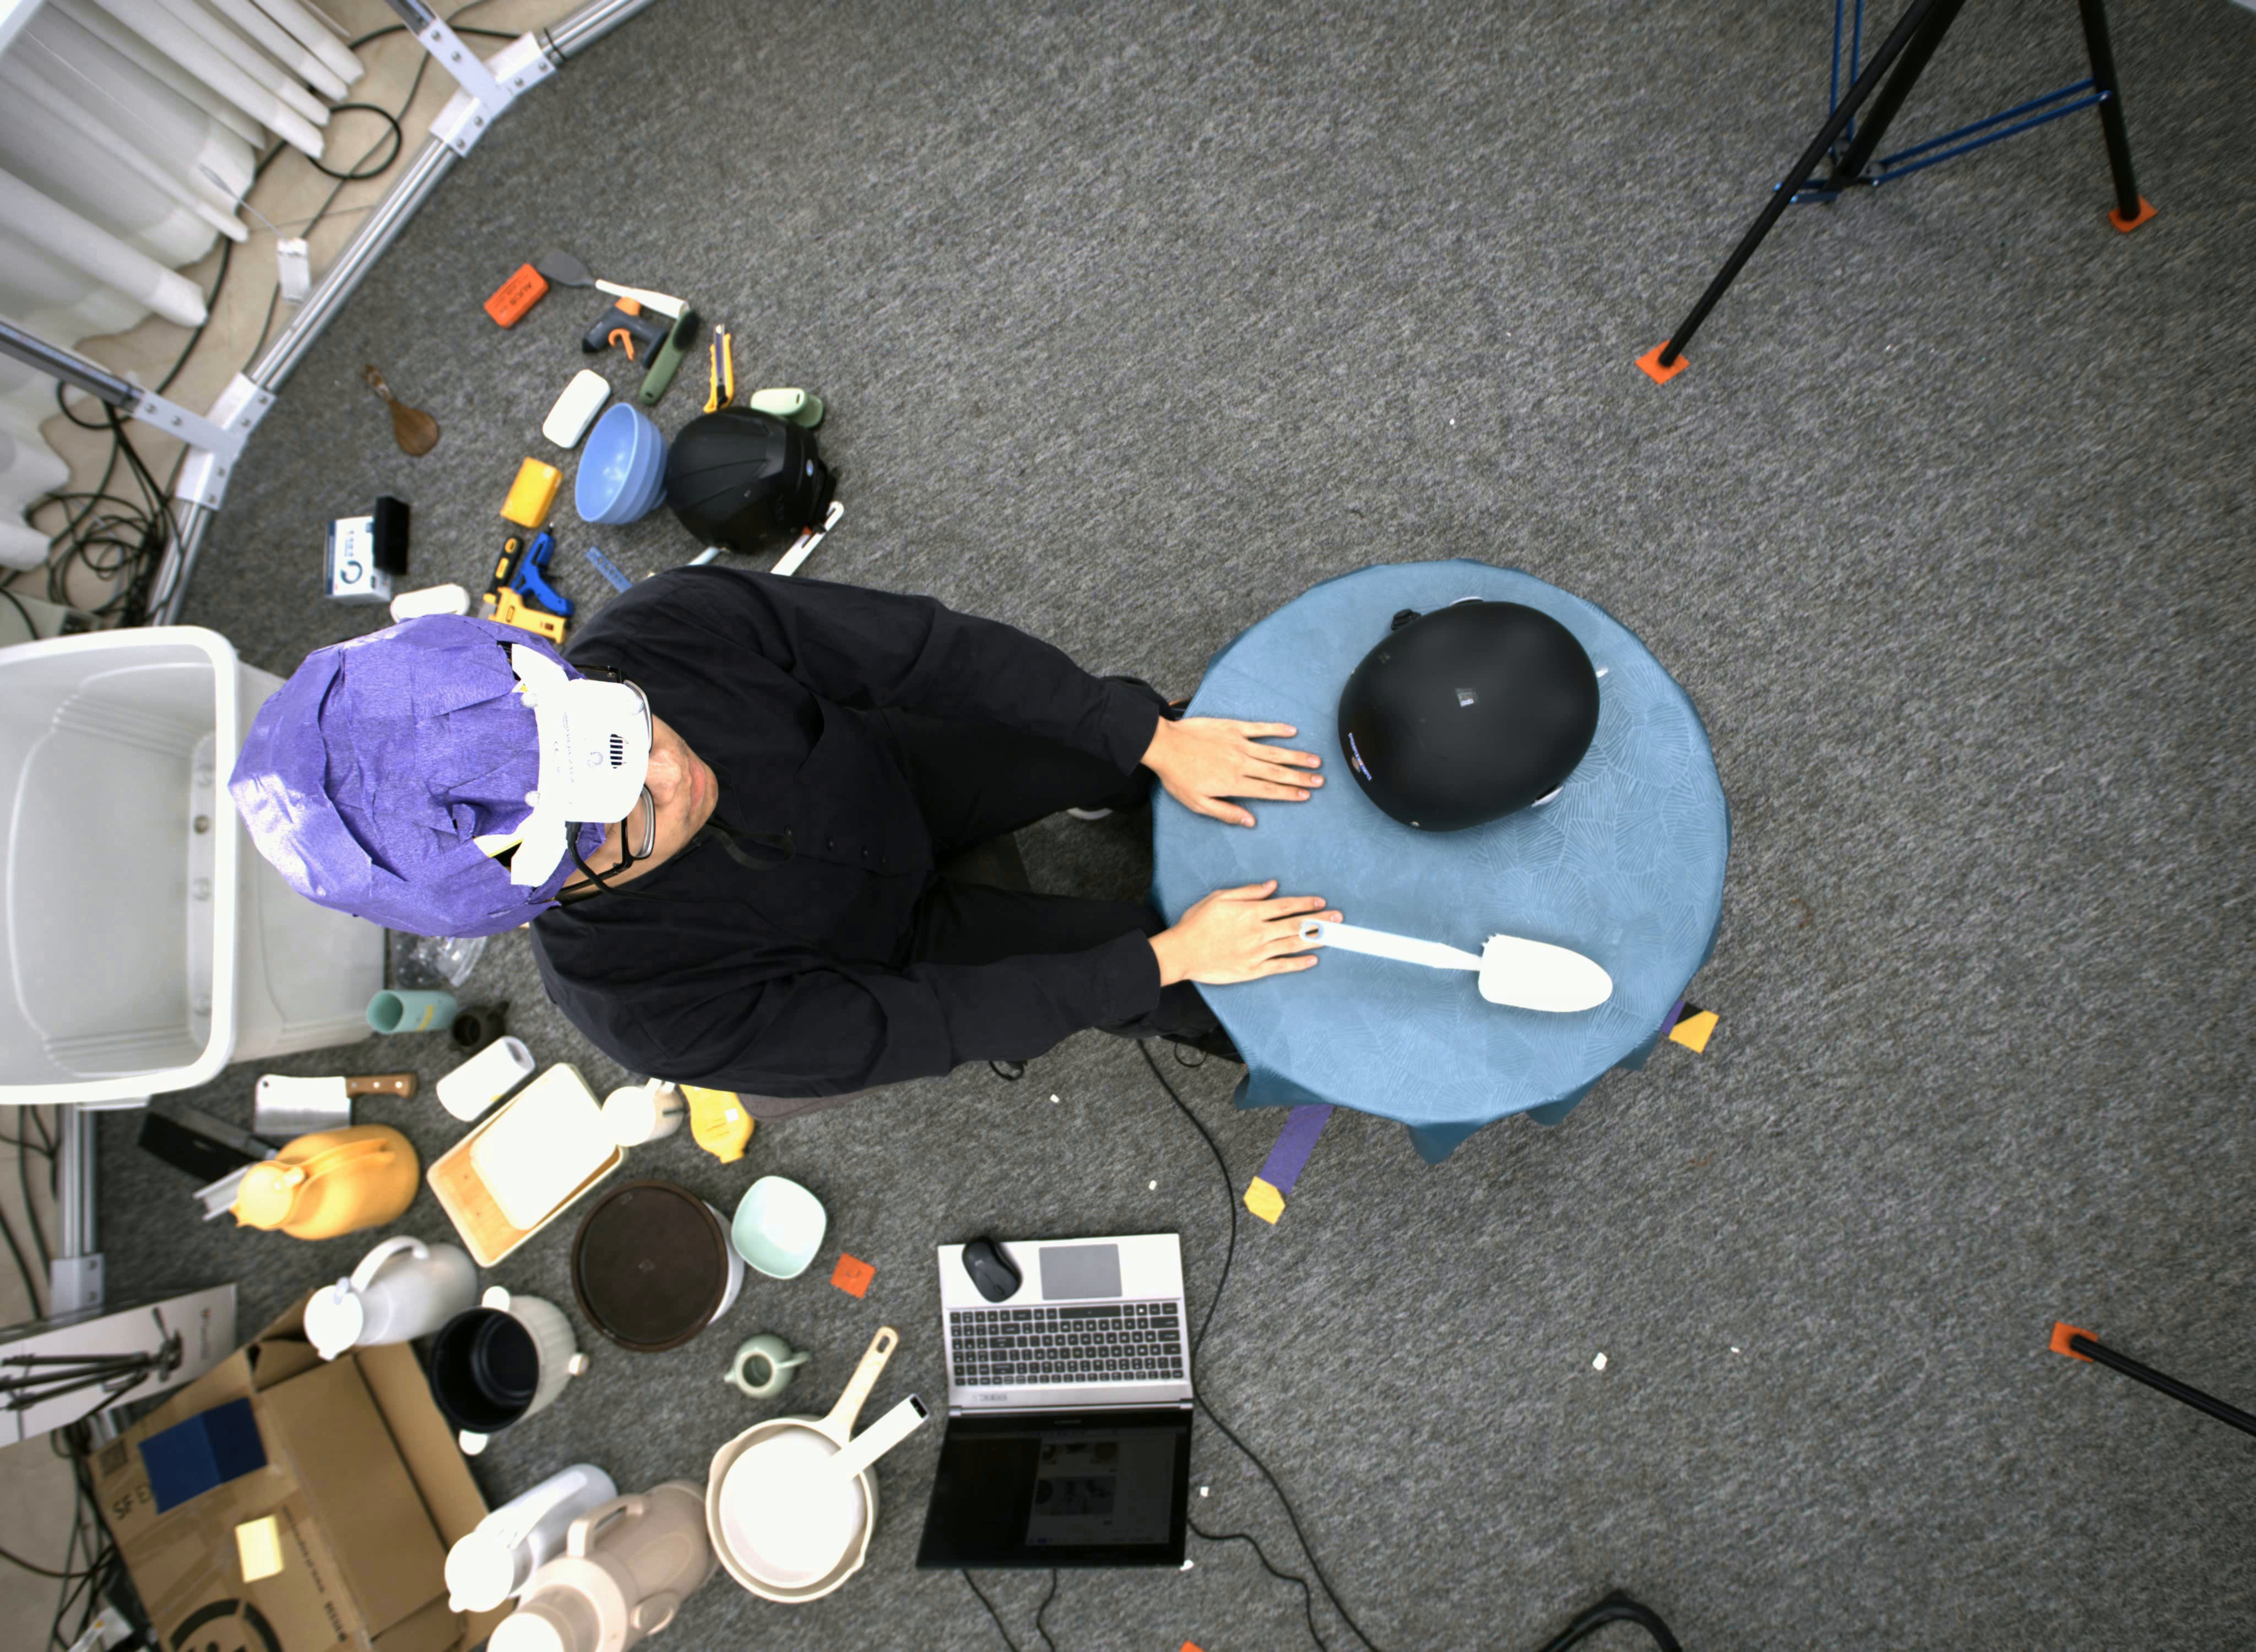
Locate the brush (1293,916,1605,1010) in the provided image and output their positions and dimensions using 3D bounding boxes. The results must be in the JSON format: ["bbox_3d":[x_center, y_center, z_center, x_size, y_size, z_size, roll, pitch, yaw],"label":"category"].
[{"bbox_3d":[0.323,0.127,1.403,0.326,0.087,0.081,11,51,-1],"label":"brush"}]

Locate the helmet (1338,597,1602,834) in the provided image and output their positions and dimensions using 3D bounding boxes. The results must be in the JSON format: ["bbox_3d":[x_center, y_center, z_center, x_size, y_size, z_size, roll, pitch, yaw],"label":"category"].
[{"bbox_3d":[0.349,-0.120,1.375,0.274,0.167,0.229,-19,85,6],"label":"helmet"}]
